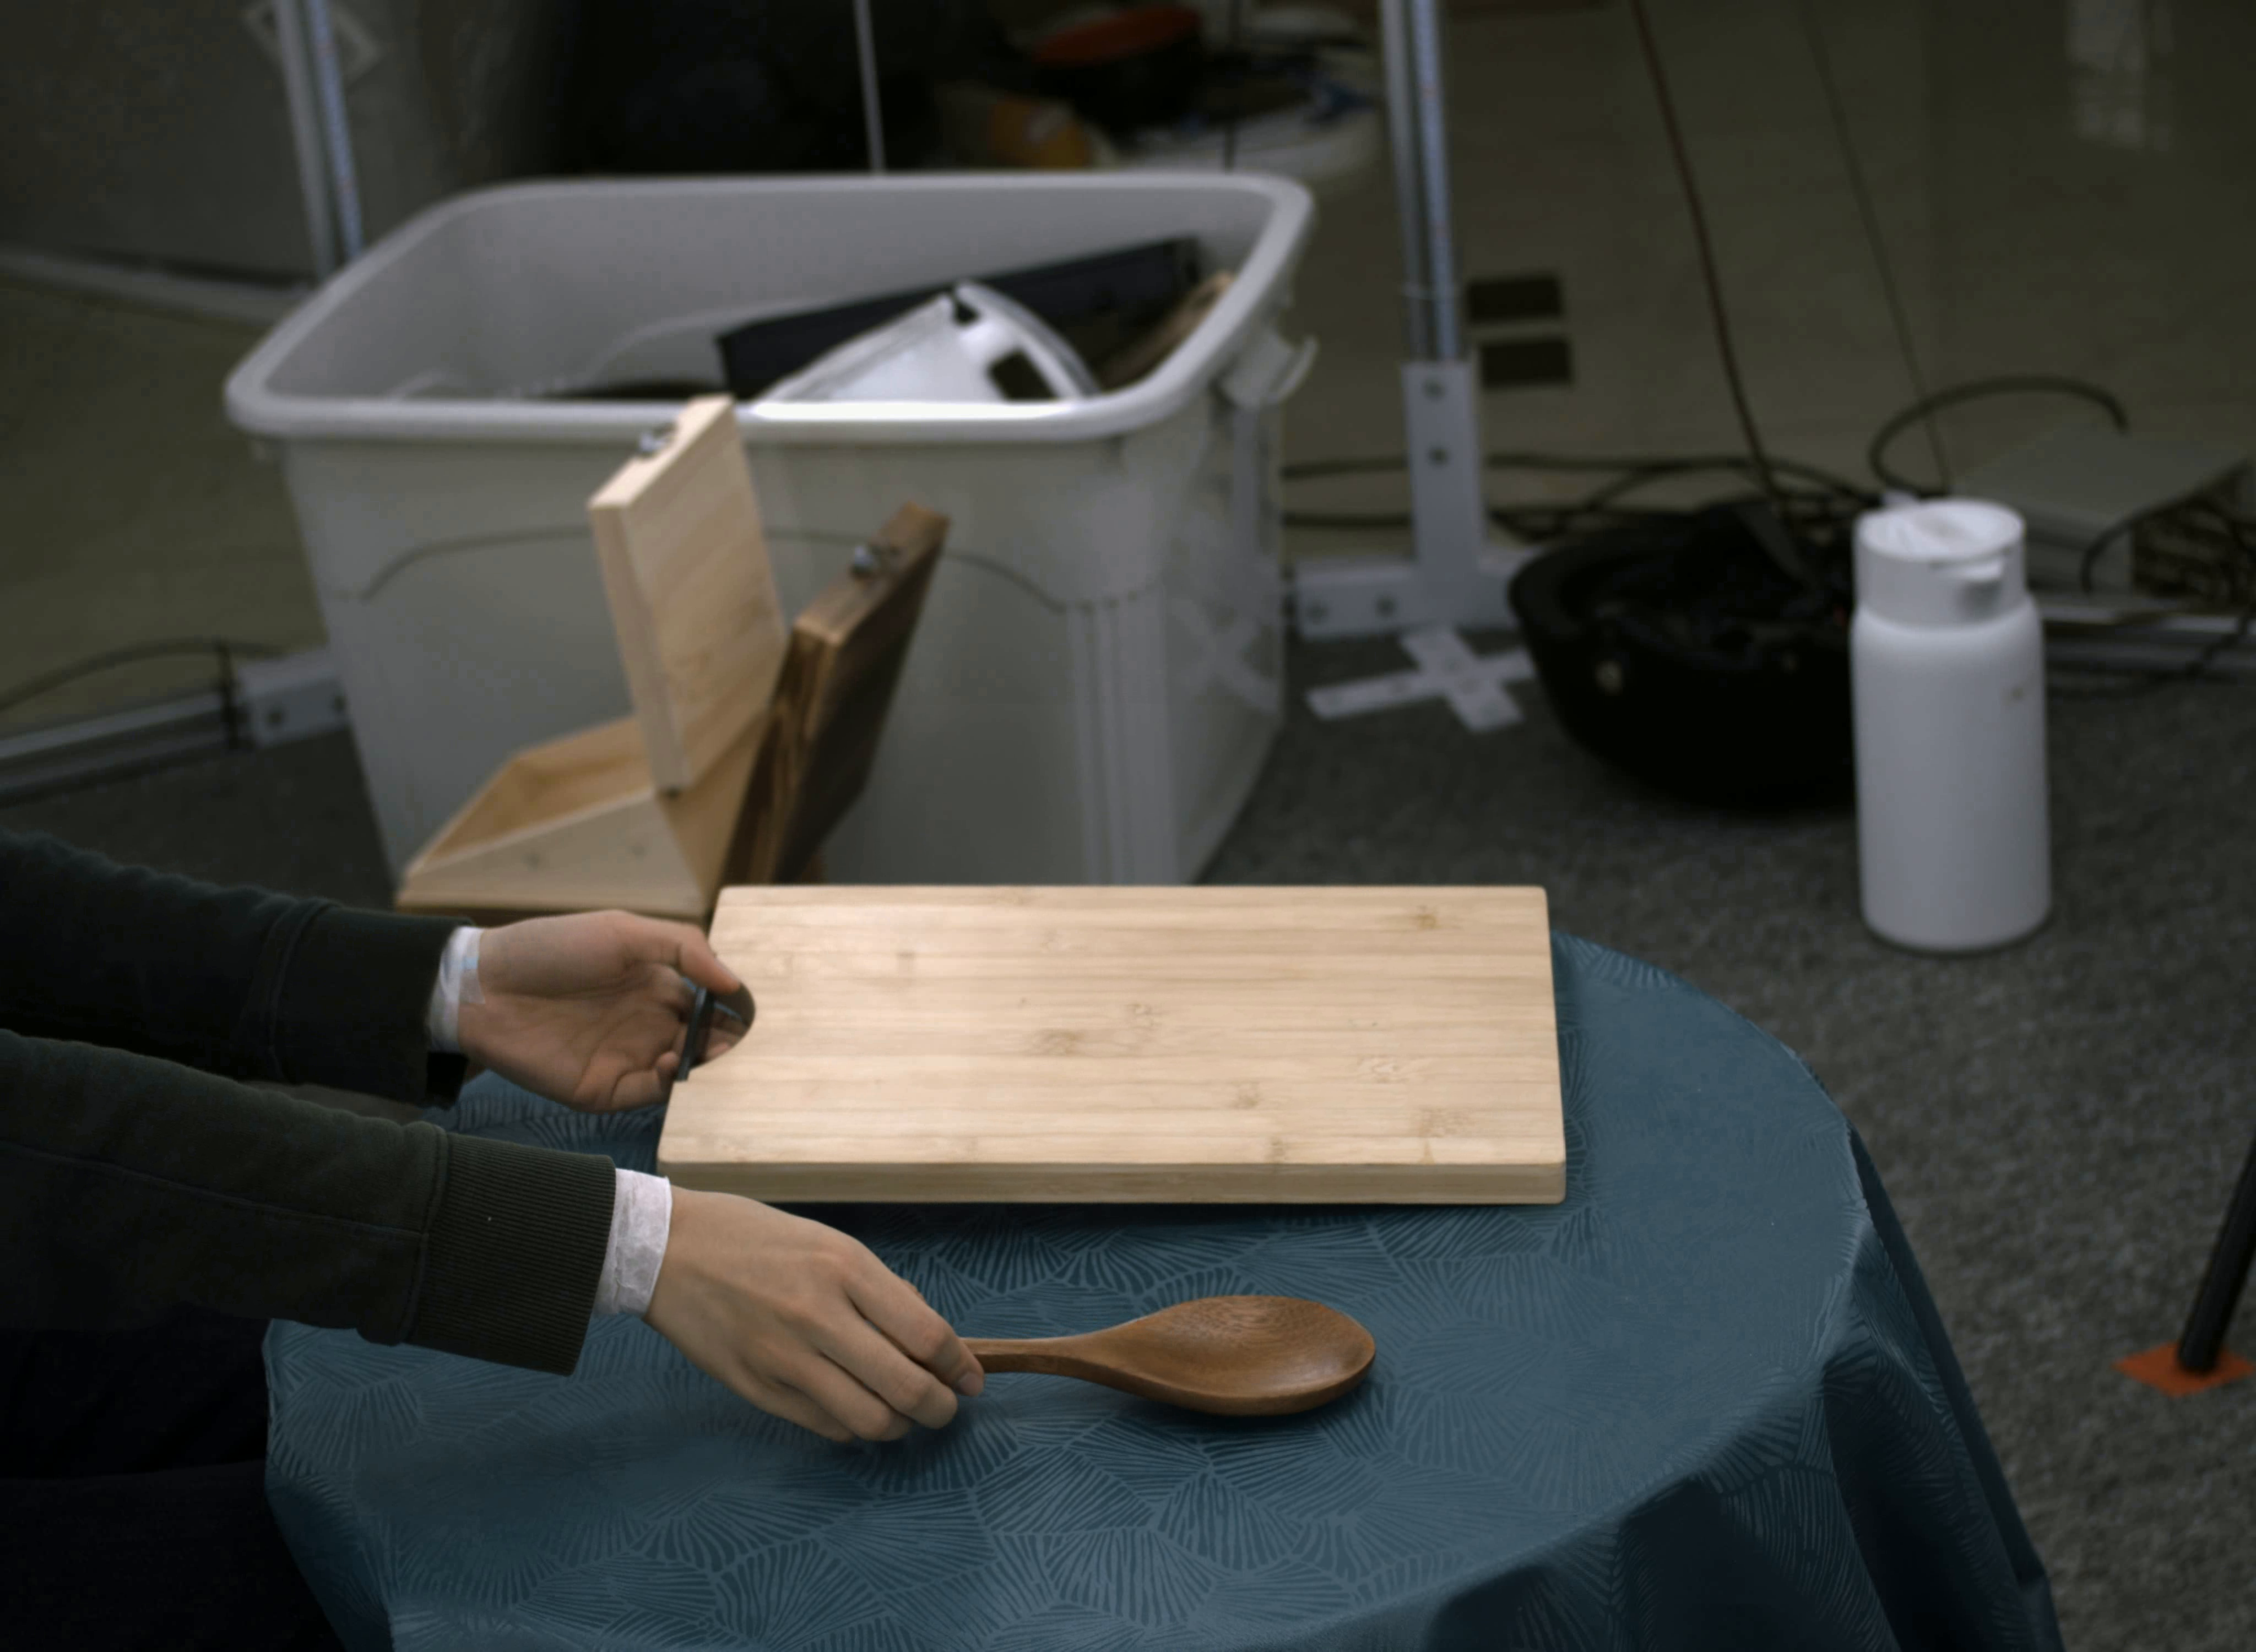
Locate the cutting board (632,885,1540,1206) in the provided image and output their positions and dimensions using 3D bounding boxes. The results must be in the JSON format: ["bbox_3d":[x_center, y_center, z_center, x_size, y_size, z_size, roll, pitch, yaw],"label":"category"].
[{"bbox_3d":[-0.009,0.083,2.219,0.348,0.024,0.247,0,25,1],"label":"cutting board"}]

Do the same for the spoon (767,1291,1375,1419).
[{"bbox_3d":[-0.020,0.188,2.013,0.215,0.017,0.074,1,27,2],"label":"spoon"}]
